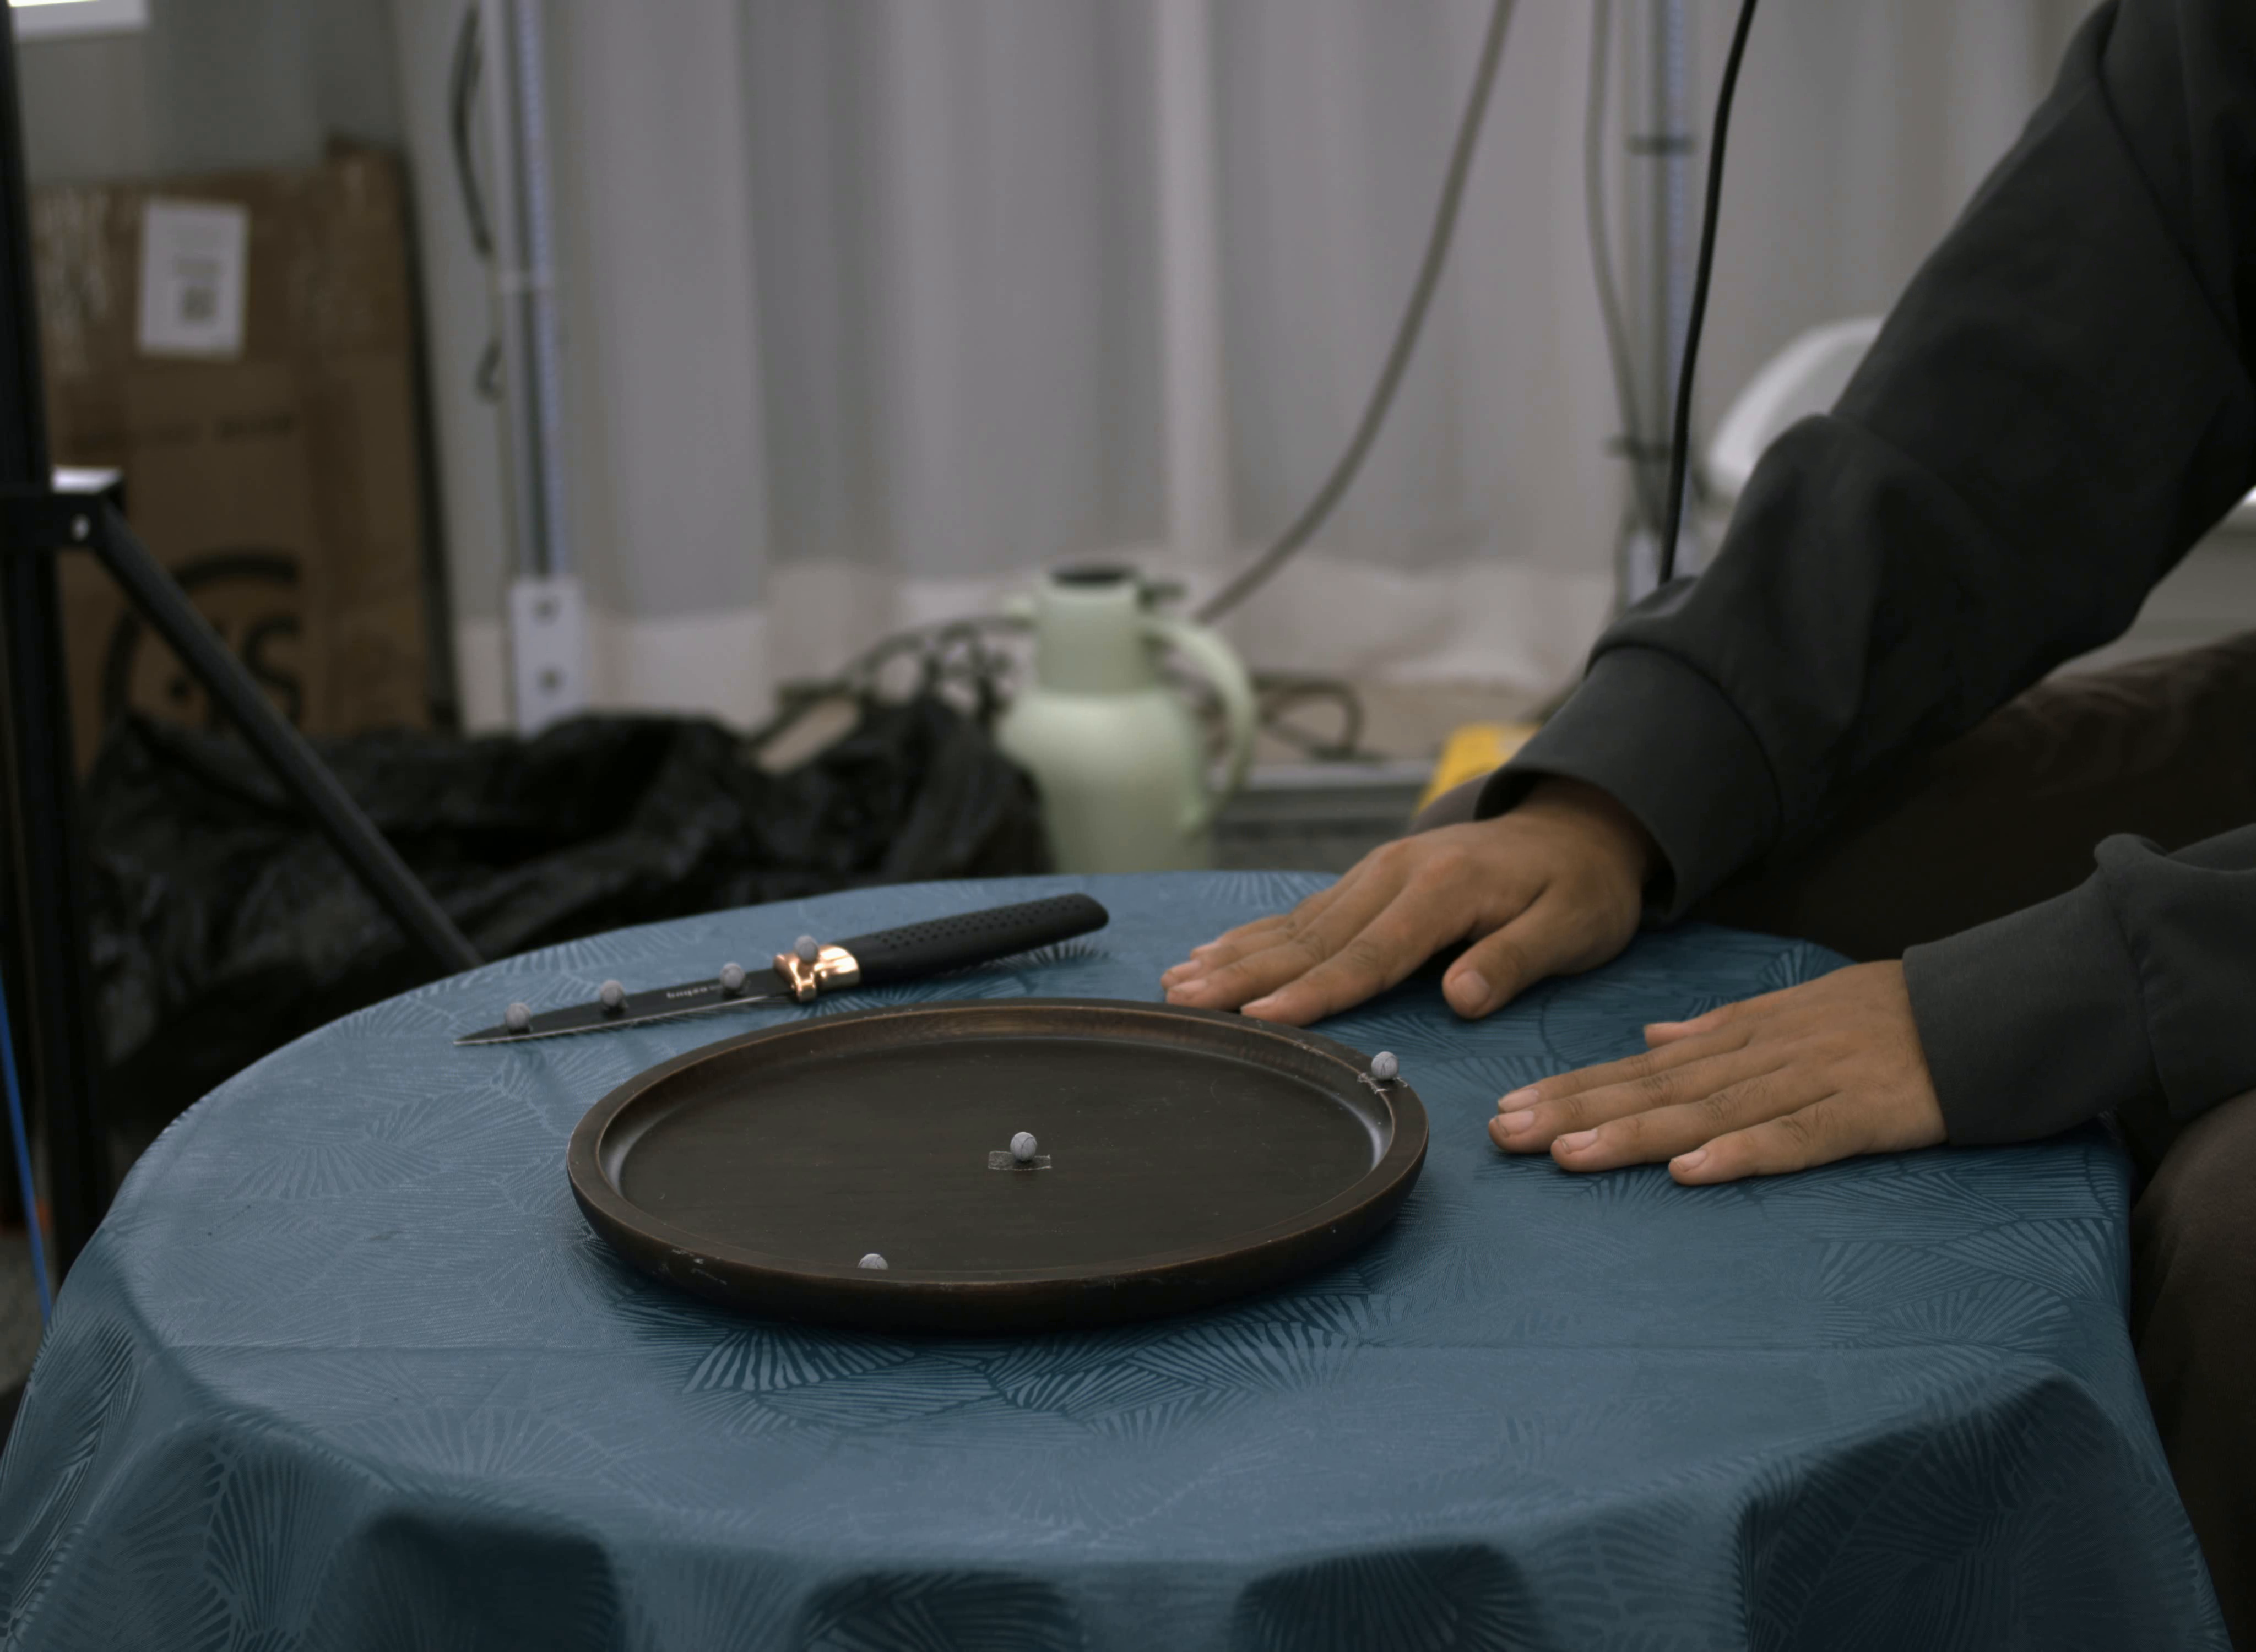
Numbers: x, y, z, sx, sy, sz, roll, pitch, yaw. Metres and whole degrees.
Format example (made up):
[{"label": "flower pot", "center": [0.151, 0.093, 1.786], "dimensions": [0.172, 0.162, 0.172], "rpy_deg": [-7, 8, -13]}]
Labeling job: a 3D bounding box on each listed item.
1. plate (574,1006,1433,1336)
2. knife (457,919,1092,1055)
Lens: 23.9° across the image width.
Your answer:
[{"label": "plate", "center": [-0.036, 0.098, 1.555], "dimensions": [0.253, 0.029, 0.256], "rpy_deg": [-2, 15, -1]}, {"label": "knife", "center": [-0.113, 0.054, 1.747], "dimensions": [0.221, 0.017, 0.027], "rpy_deg": [-9, 22, -19]}]
